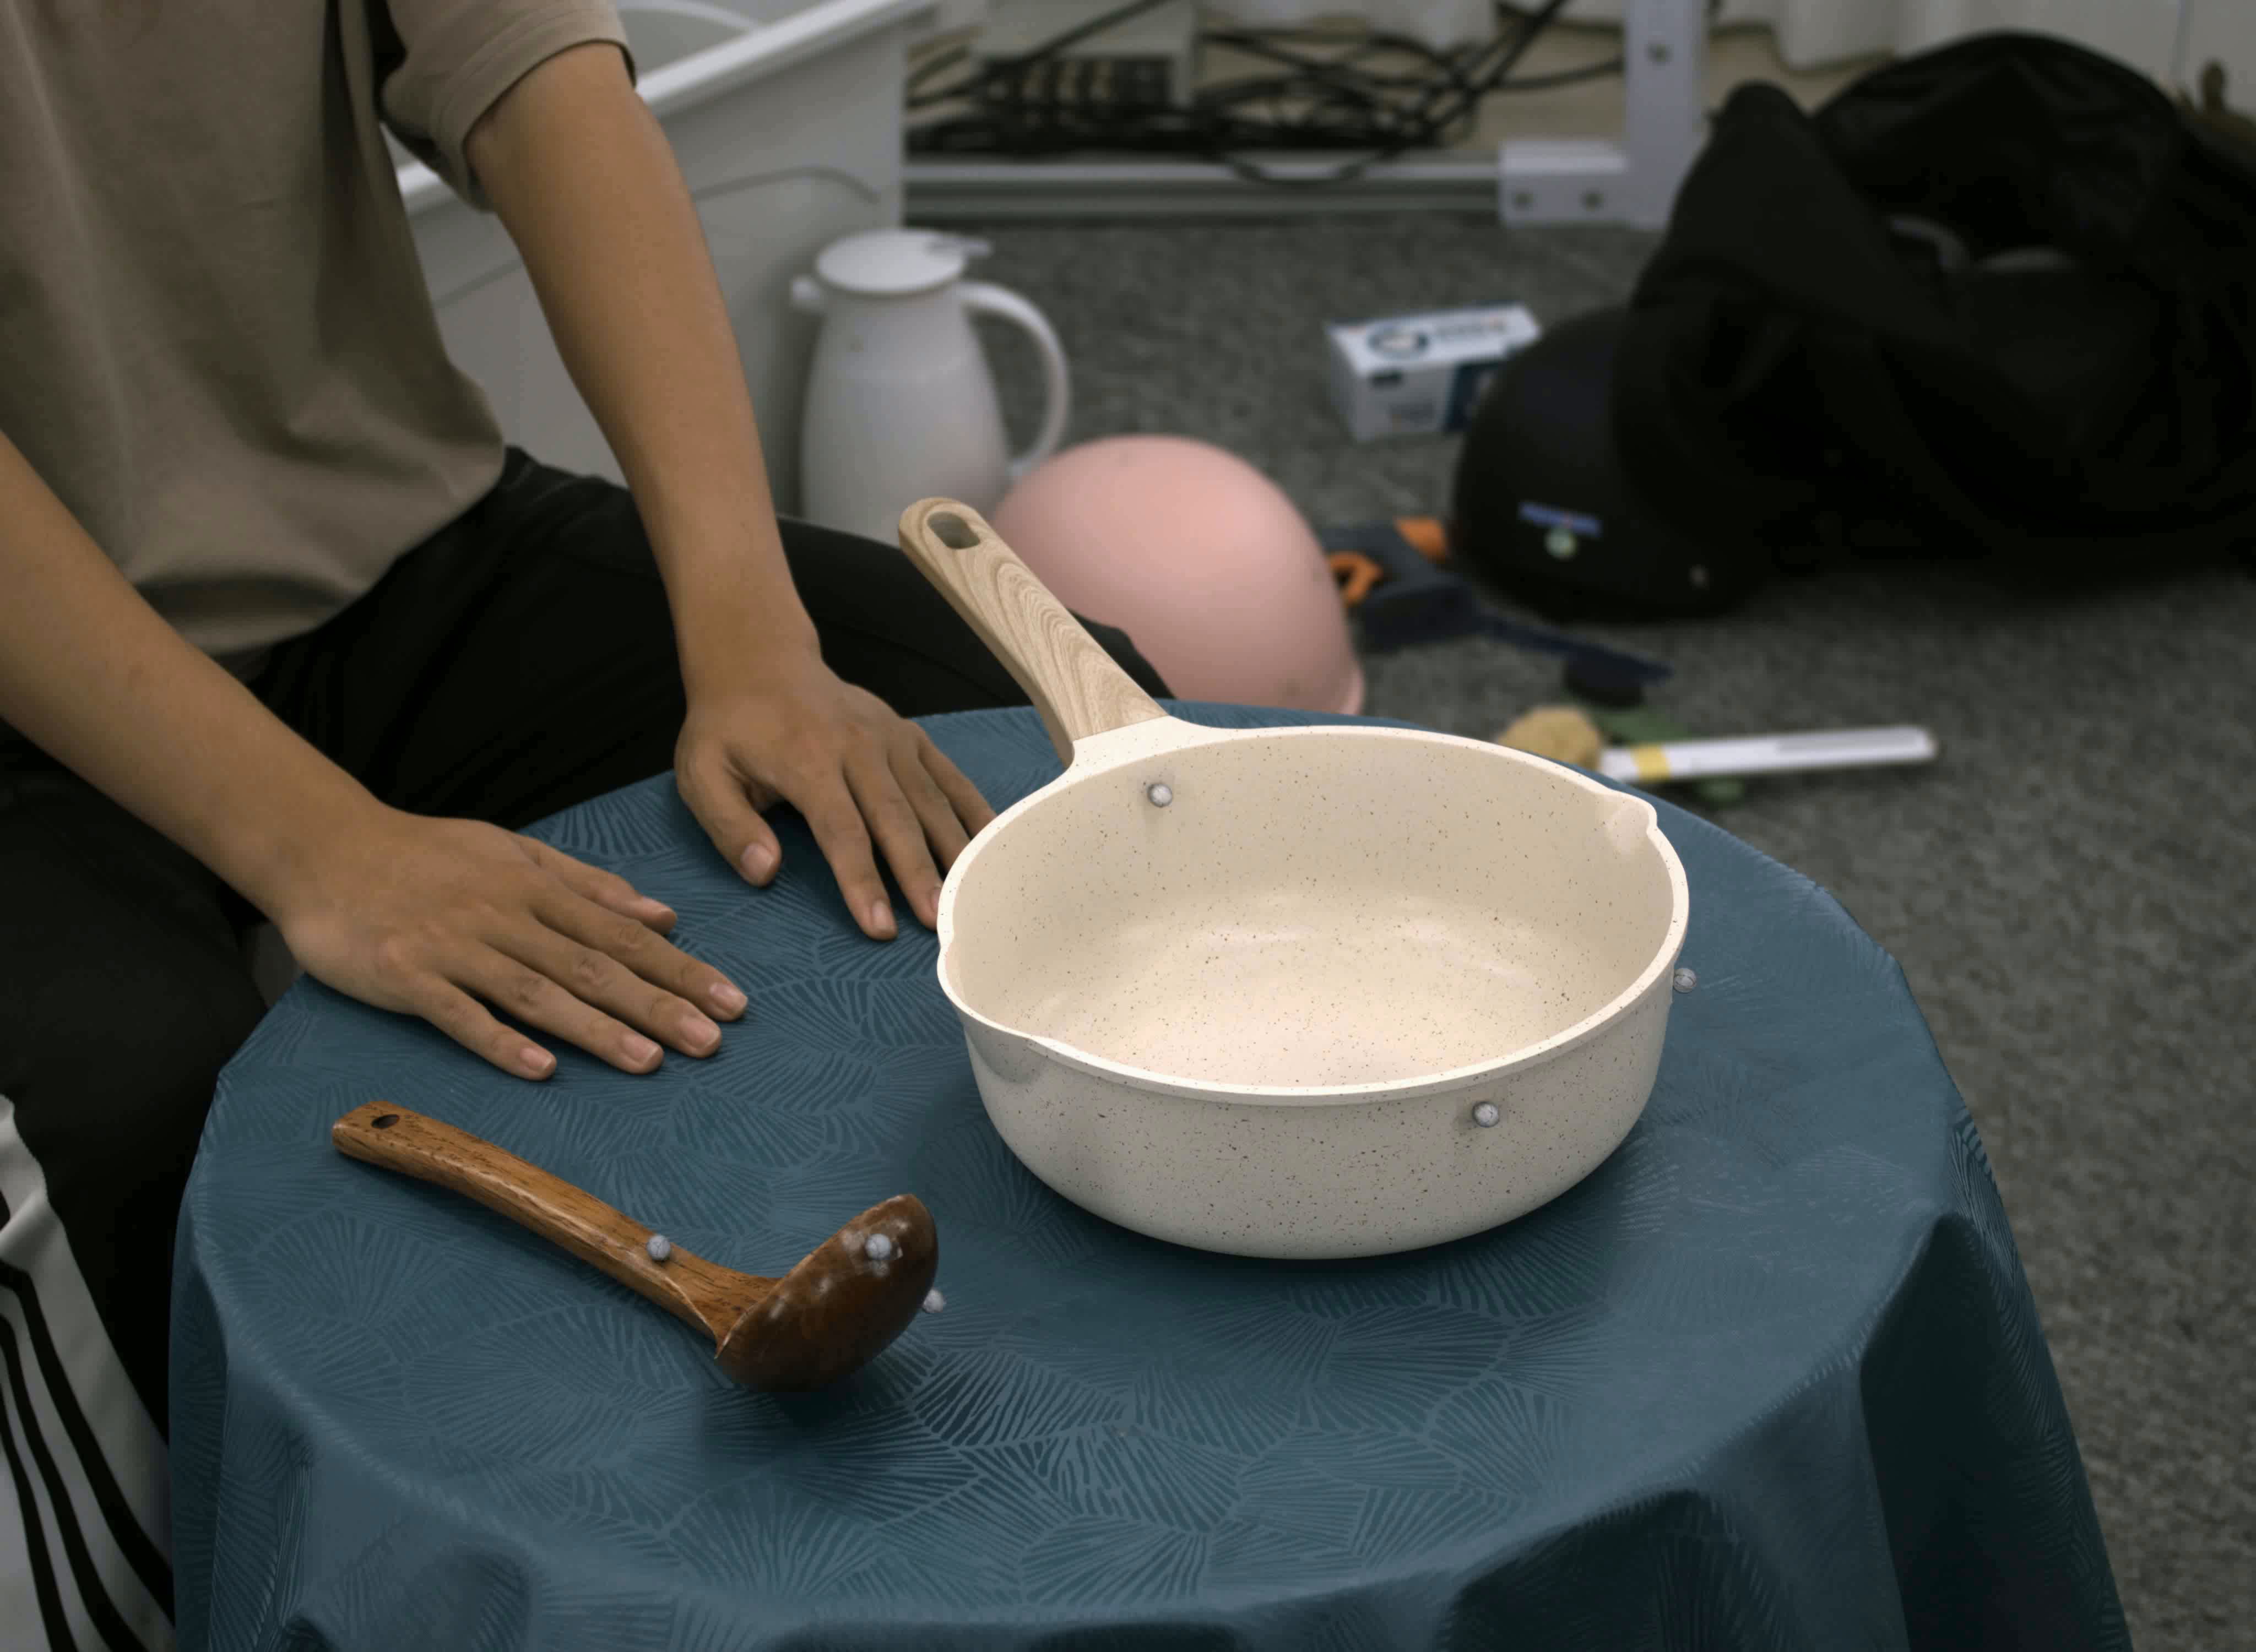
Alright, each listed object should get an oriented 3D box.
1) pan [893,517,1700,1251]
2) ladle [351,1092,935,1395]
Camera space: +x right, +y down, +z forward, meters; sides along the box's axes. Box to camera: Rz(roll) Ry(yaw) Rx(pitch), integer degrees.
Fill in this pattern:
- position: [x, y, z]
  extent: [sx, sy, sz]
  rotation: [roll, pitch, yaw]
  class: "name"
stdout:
- position: [0.026, 0.014, 1.961]
  extent: [0.265, 0.101, 0.437]
  rotation: [-16, 30, -22]
  class: "pan"
- position: [-0.168, 0.114, 1.807]
  extent: [0.083, 0.076, 0.274]
  rotation: [-26, 36, -37]
  class: "ladle"
